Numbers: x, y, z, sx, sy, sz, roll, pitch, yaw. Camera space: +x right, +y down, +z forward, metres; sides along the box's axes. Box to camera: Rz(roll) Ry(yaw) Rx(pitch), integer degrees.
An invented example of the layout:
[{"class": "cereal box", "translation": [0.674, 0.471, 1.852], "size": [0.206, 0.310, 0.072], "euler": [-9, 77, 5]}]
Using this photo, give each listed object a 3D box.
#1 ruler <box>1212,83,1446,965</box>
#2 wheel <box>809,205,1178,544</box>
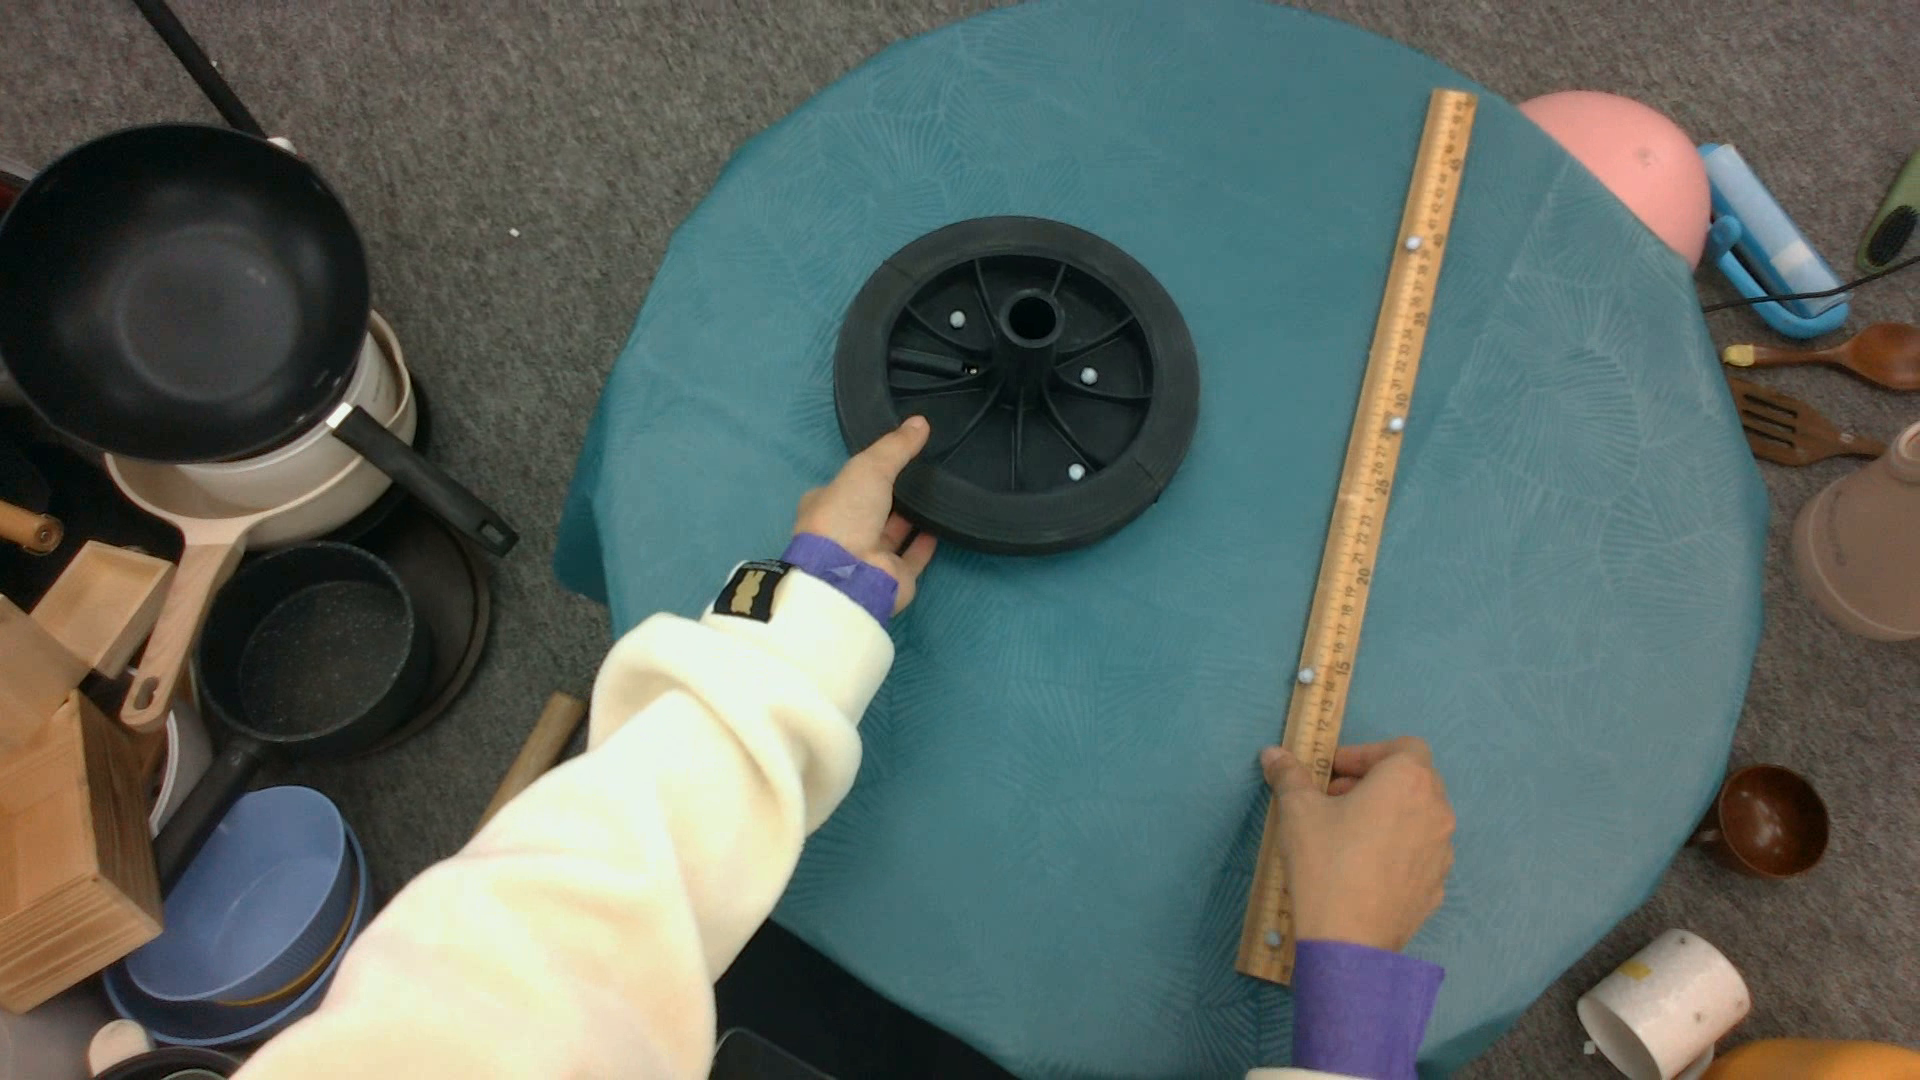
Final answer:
[{"class": "ruler", "translation": [0.198, -0.035, 0.710], "size": [0.027, 0.006, 0.502], "euler": [14, 71, 11]}, {"class": "wheel", "translation": [0.020, -0.096, 0.684], "size": [0.190, 0.079, 0.188], "euler": [-10, 70, -9]}]
